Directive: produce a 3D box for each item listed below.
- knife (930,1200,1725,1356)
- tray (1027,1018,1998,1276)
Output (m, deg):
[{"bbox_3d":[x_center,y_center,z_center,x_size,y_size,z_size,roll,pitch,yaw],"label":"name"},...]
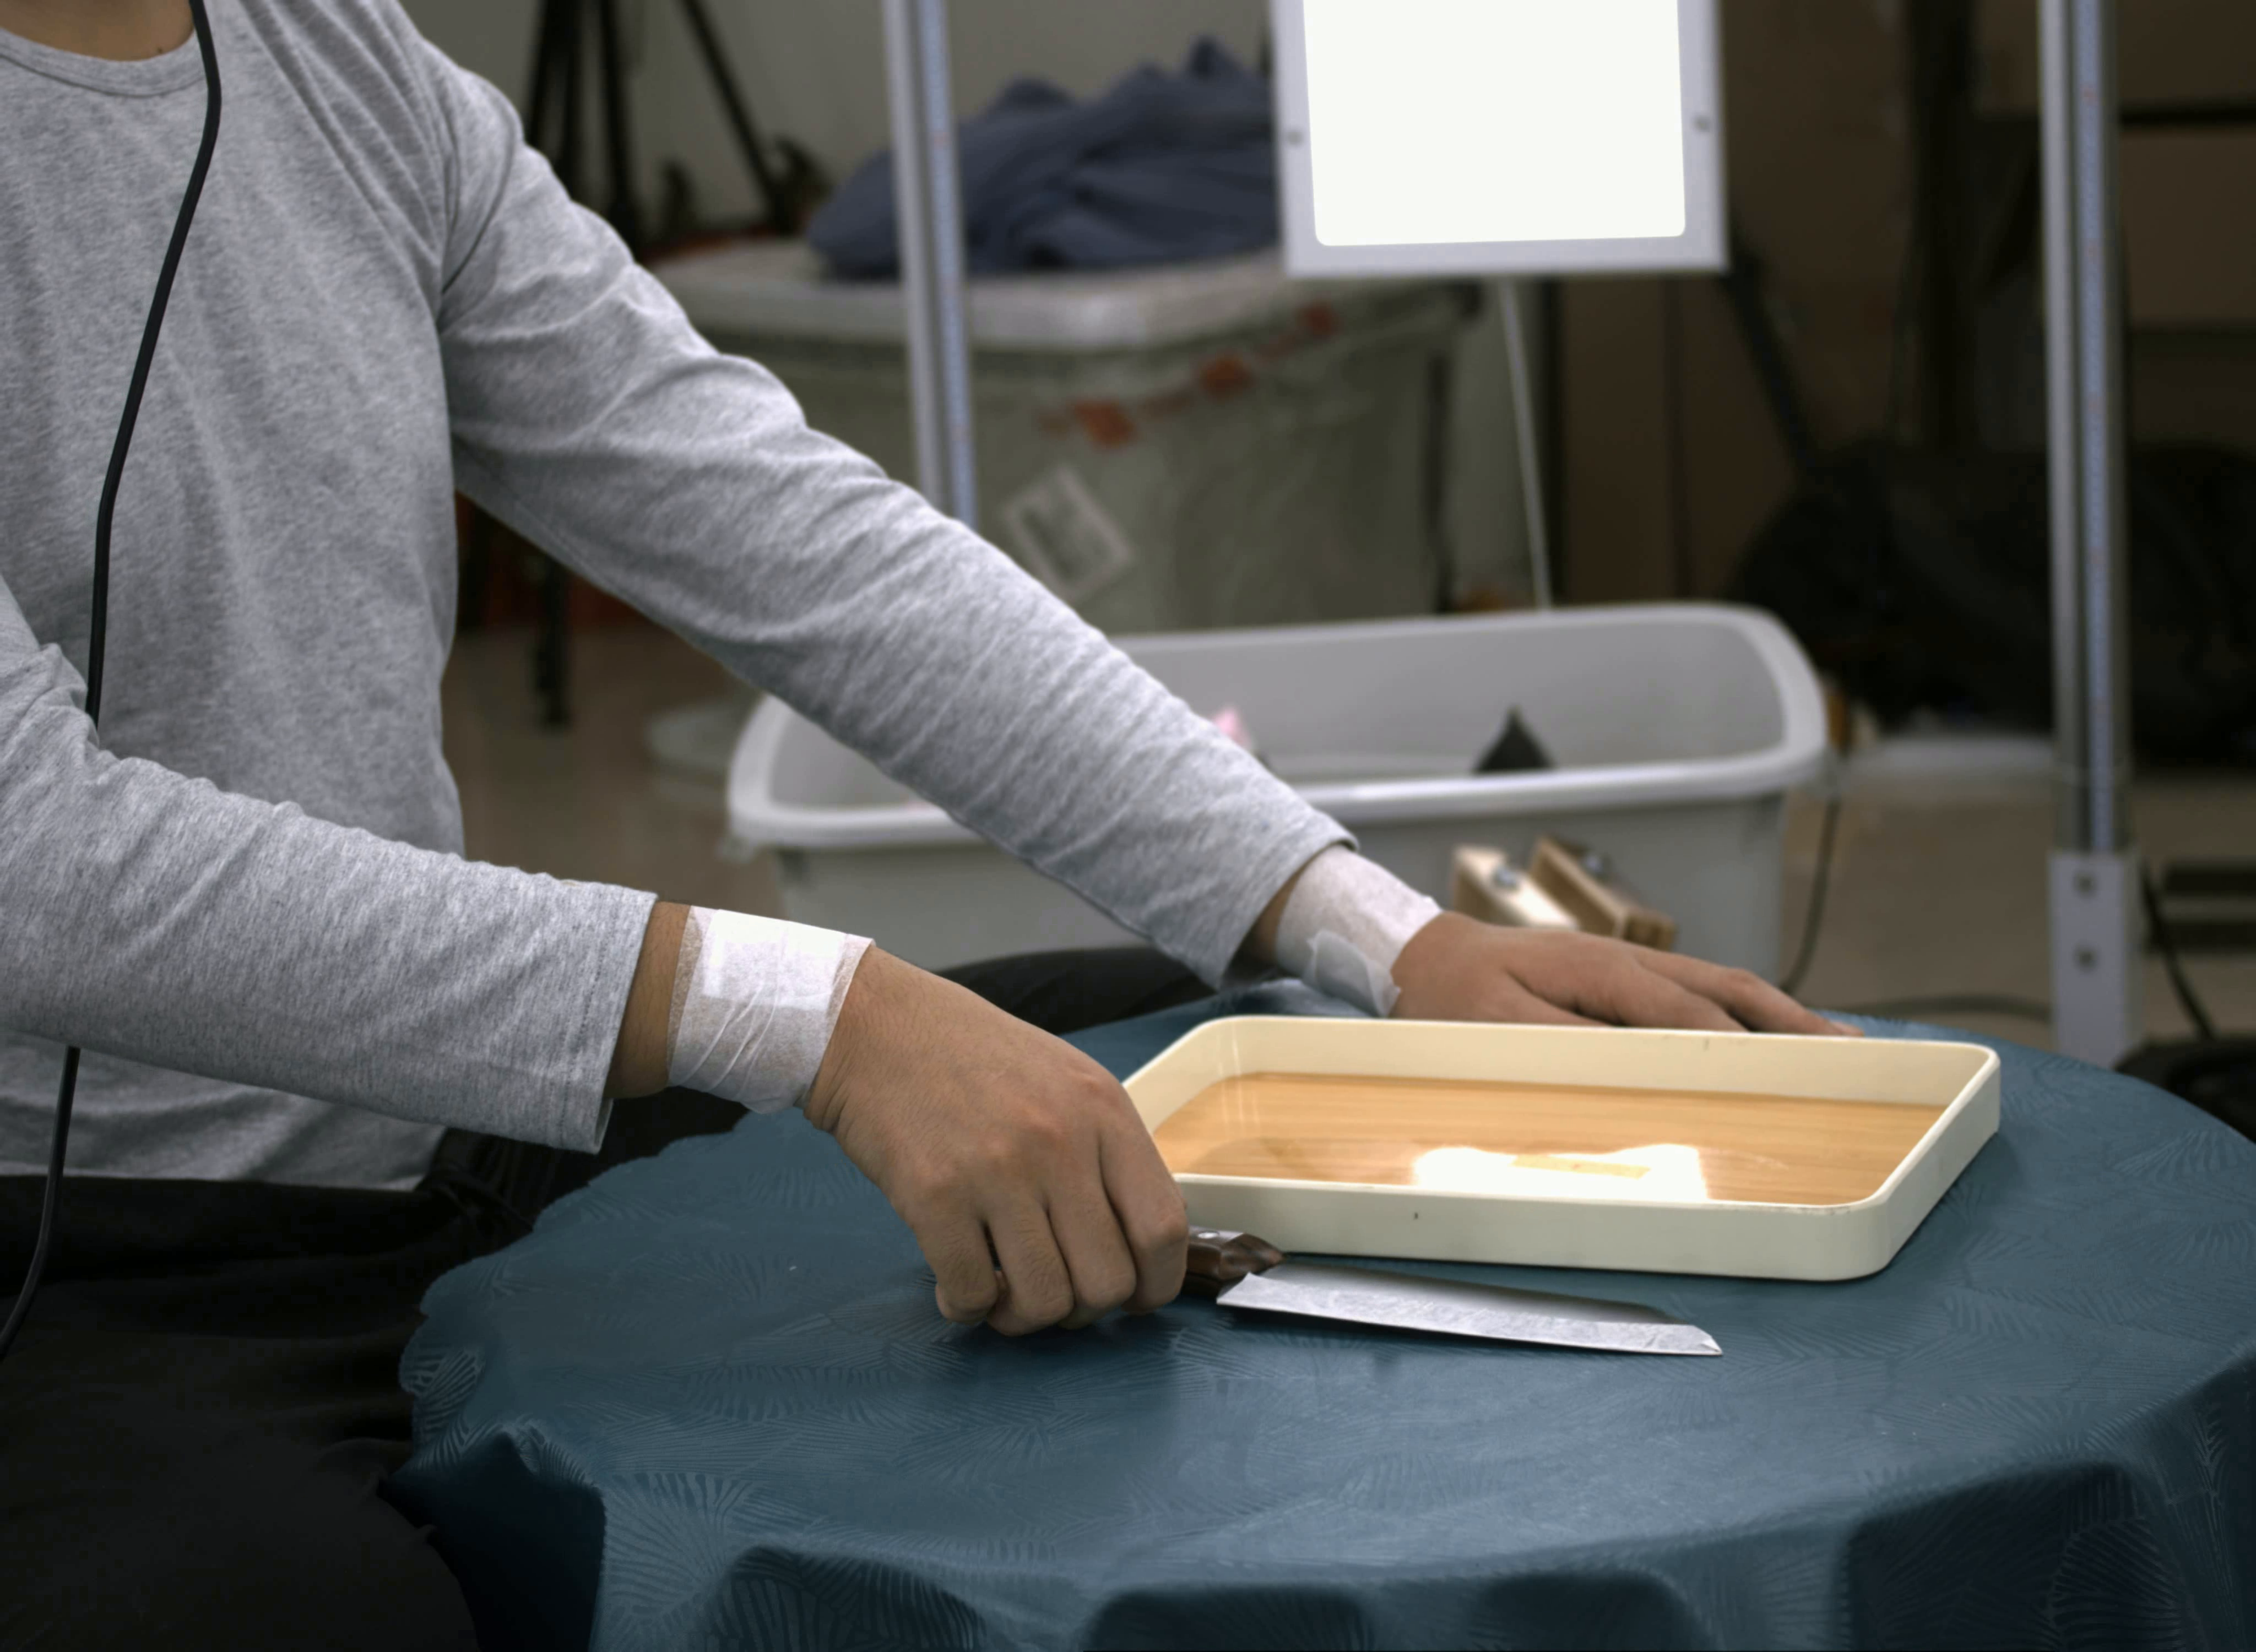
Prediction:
[{"bbox_3d":[0.059,0.147,1.764,0.294,0.020,0.049,6,18,30],"label":"knife"},{"bbox_3d":[0.134,0.107,1.877,0.305,0.027,0.188,1,15,25],"label":"tray"}]
